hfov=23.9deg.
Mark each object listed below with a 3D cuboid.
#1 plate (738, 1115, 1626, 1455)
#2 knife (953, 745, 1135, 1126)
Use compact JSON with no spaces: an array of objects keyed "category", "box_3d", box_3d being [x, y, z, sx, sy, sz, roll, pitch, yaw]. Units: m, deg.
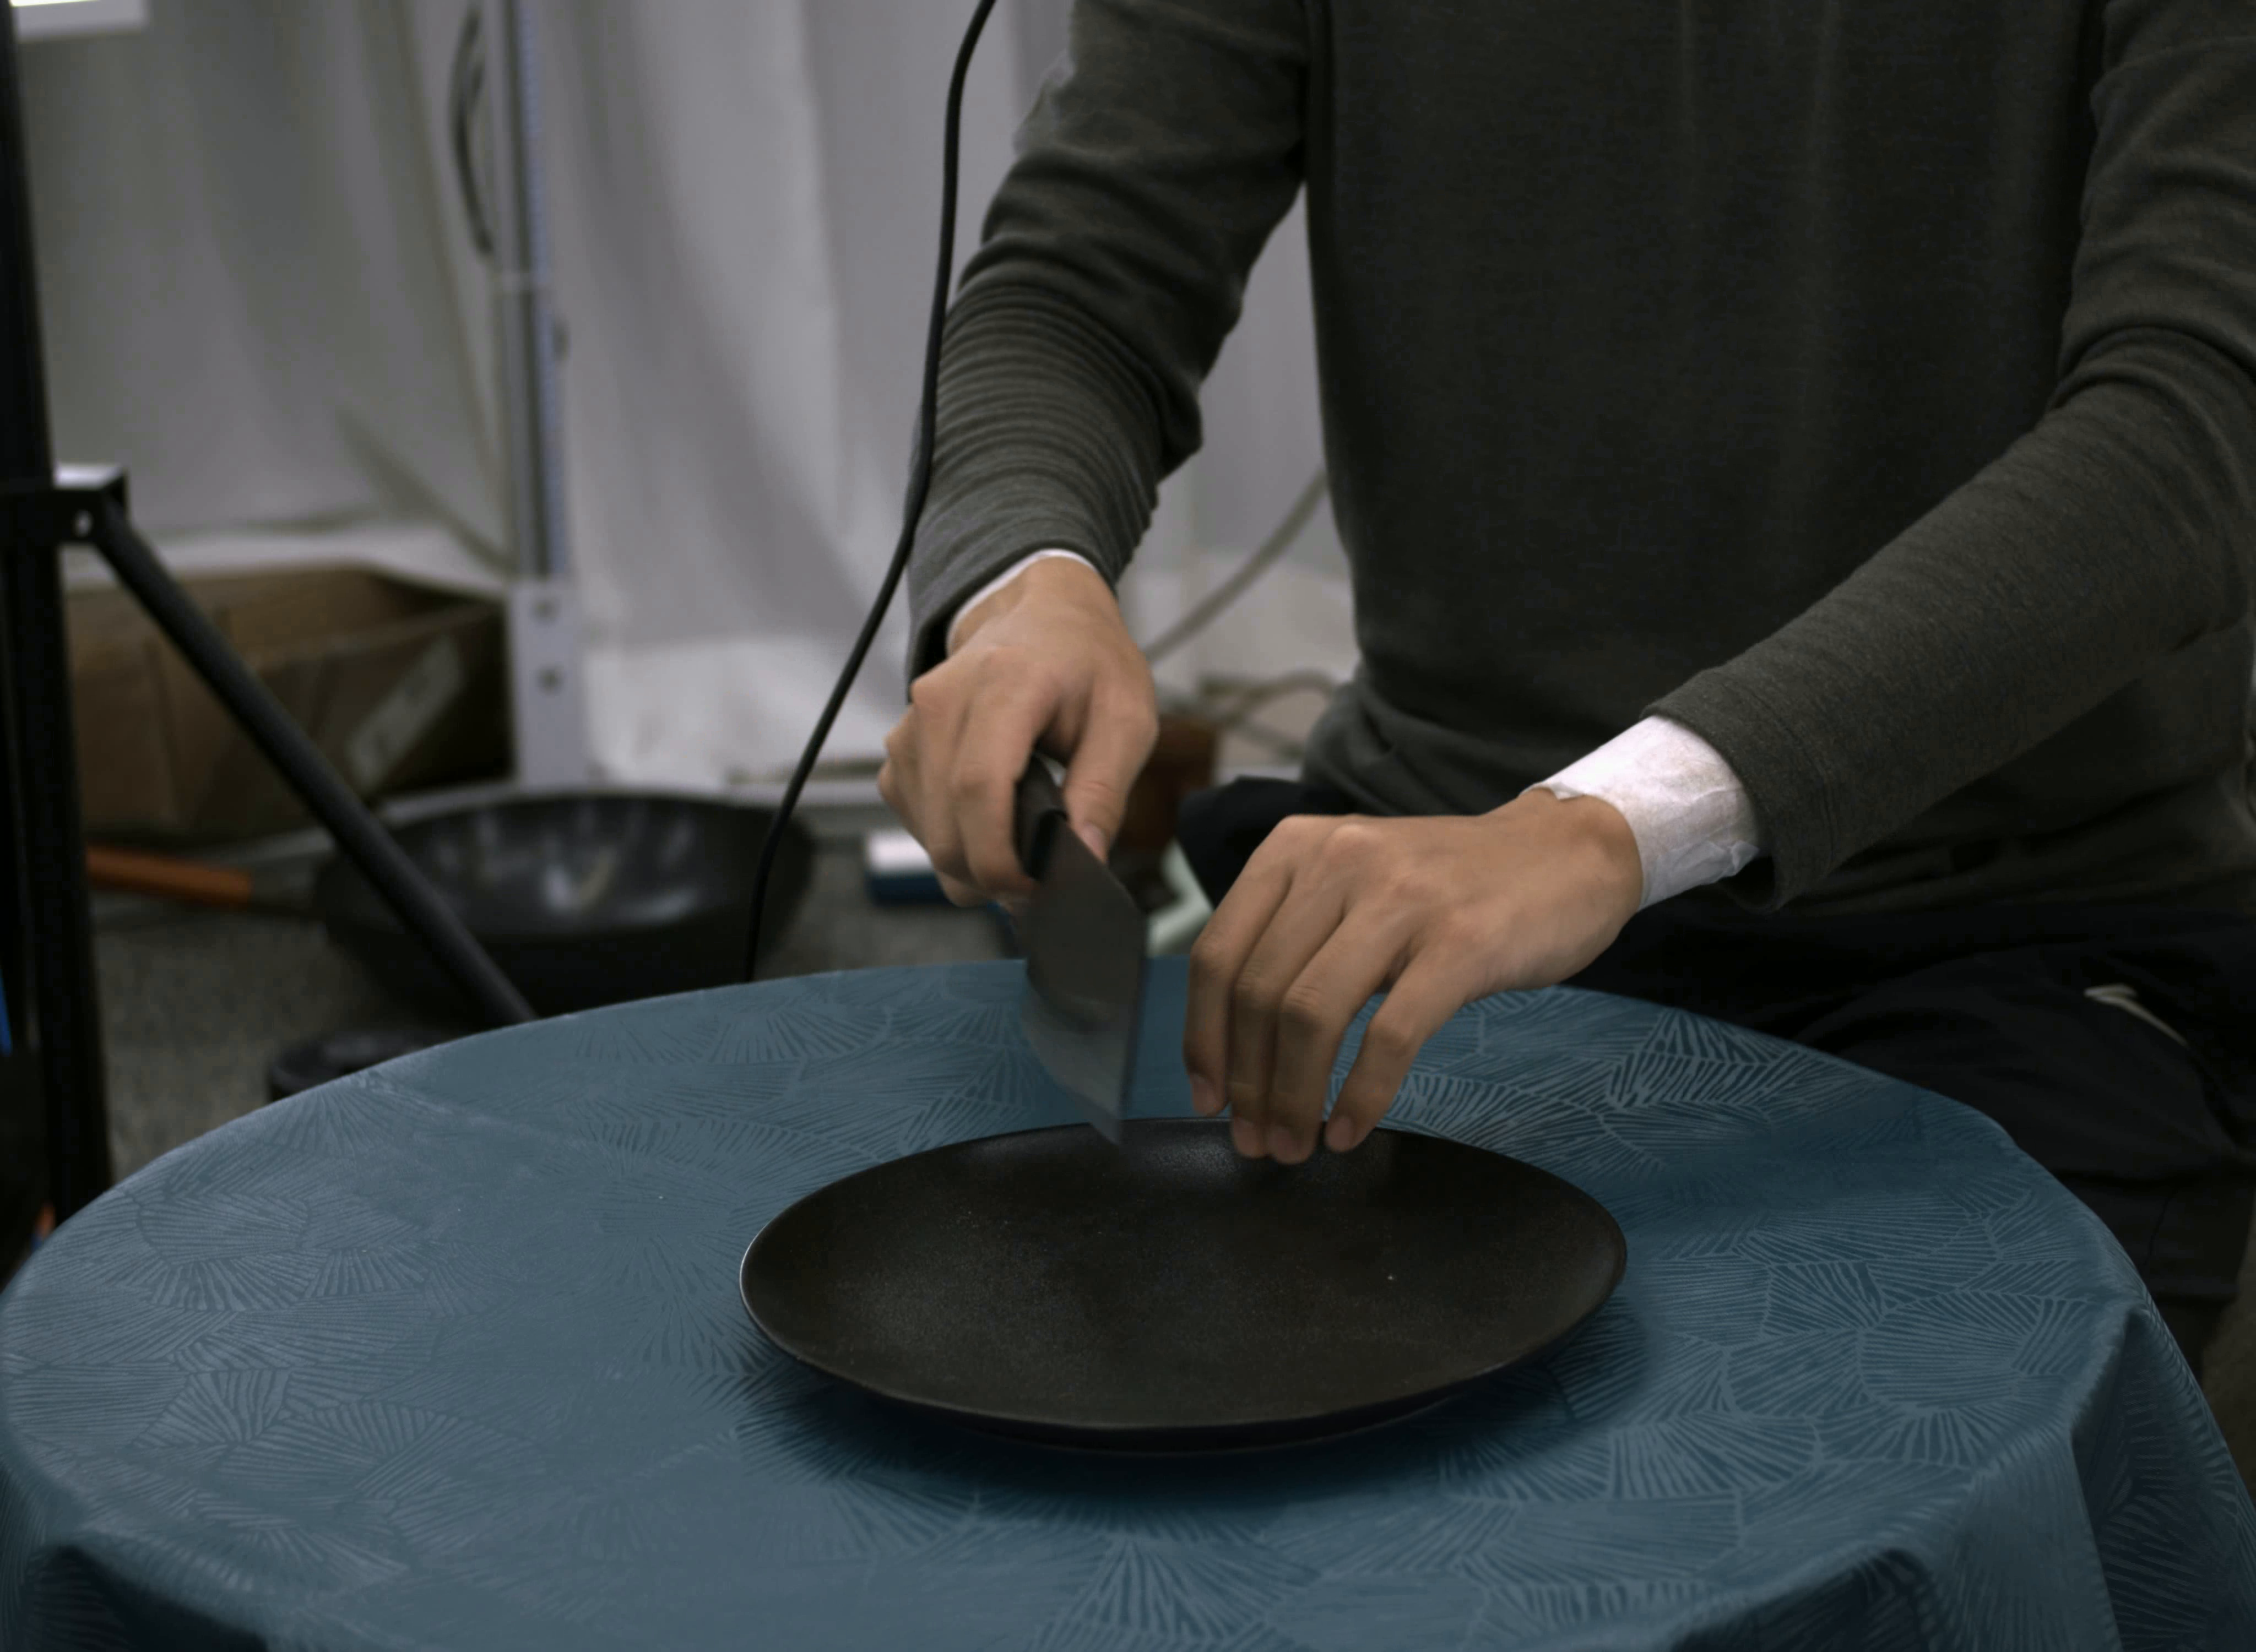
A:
[{"category":"plate","box_3d":[0.015,0.128,1.449,0.243,0.023,0.245,-3,16,-1]},{"category":"knife","box_3d":[-0.024,0.024,1.520,0.020,0.081,0.305,8,12,-10]}]
